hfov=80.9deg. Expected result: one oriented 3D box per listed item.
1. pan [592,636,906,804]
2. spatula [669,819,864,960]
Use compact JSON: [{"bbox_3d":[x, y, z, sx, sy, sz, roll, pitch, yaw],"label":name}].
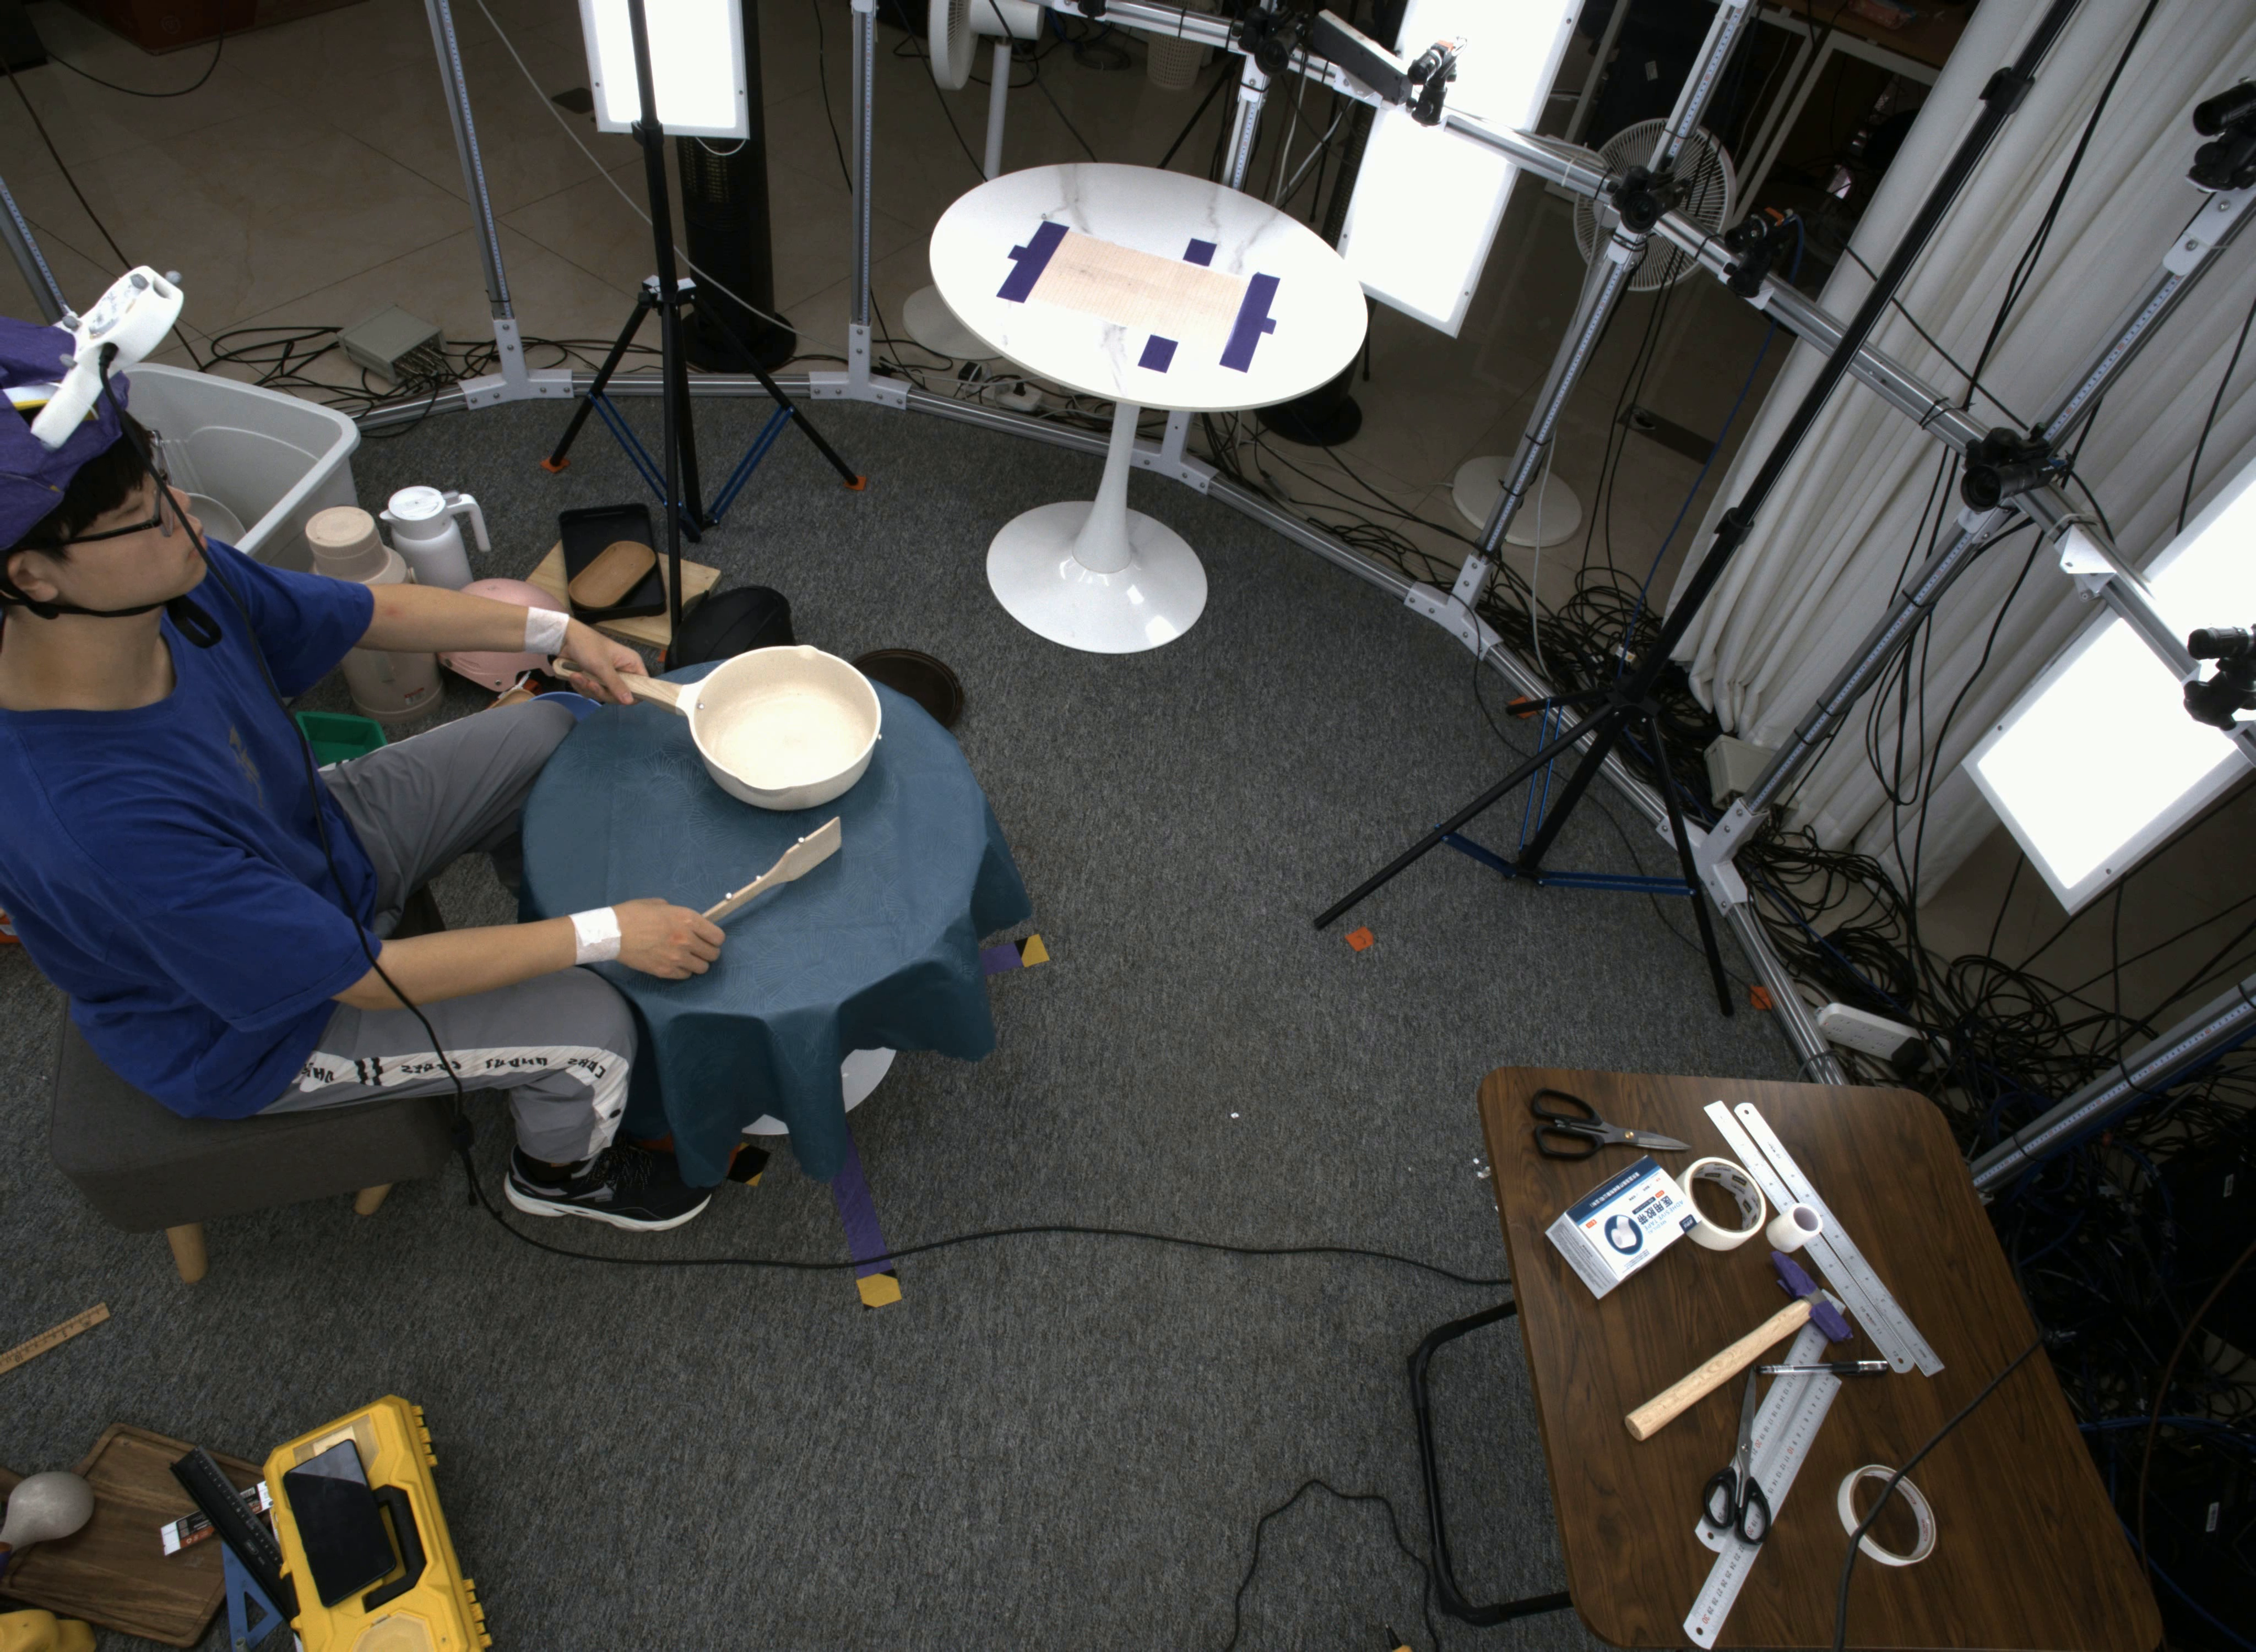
[{"bbox_3d":[-0.521,-0.157,1.761,0.433,0.104,0.259,9,54,-7],"label":"pan"},{"bbox_3d":[-0.450,0.081,1.630,0.293,0.073,0.010,-35,69,-28],"label":"spatula"}]
